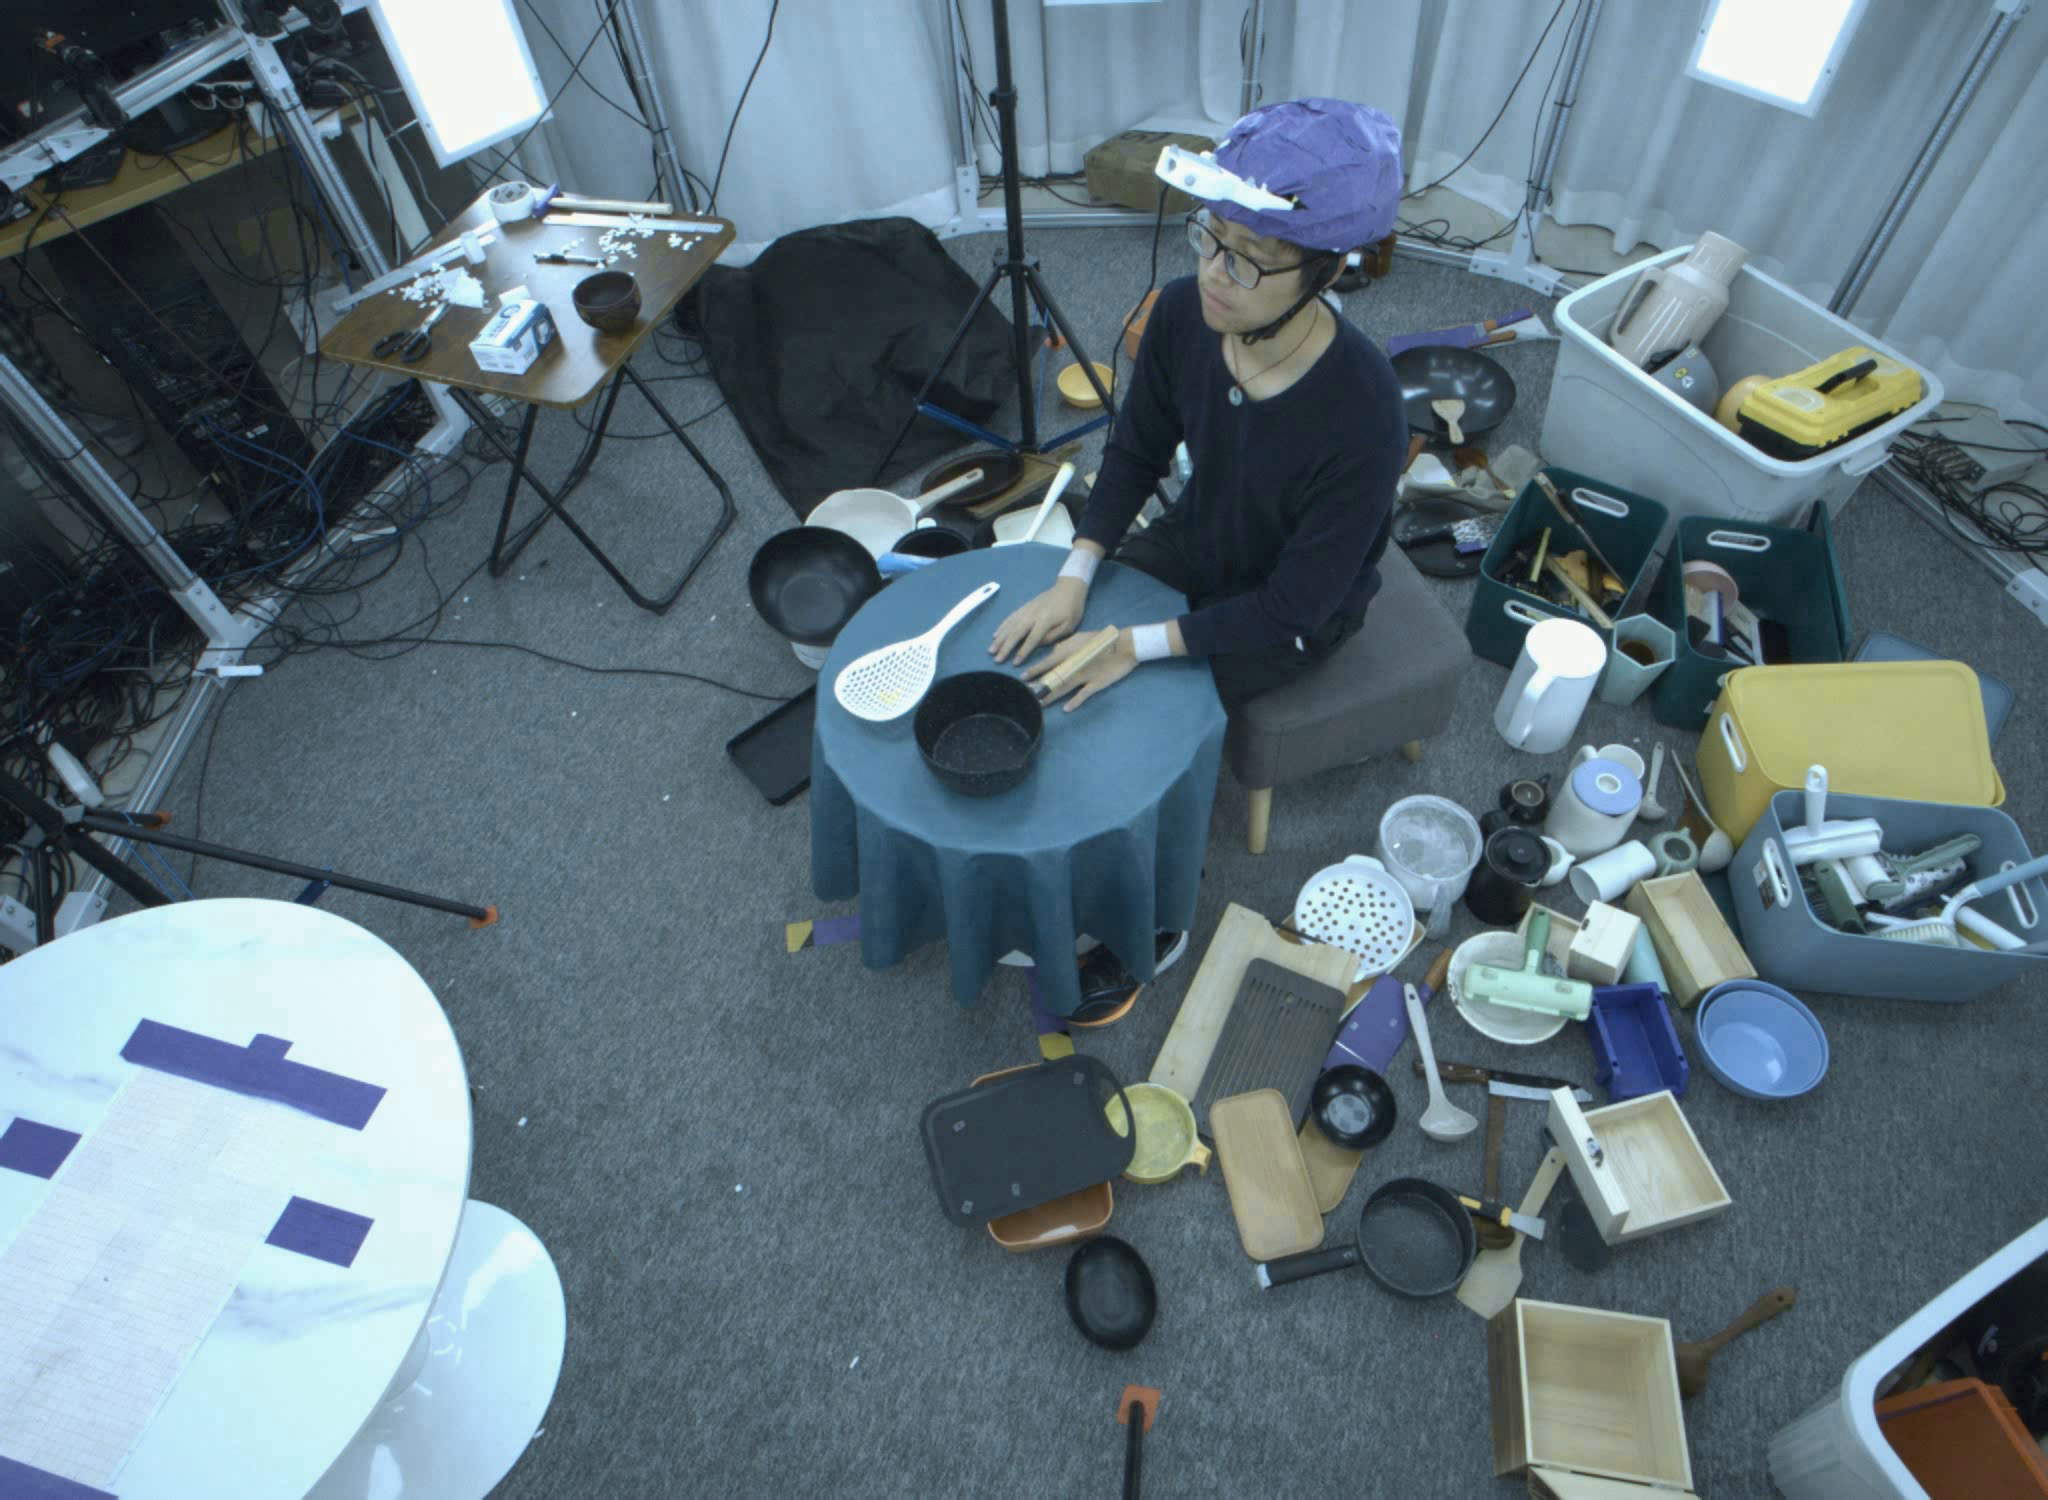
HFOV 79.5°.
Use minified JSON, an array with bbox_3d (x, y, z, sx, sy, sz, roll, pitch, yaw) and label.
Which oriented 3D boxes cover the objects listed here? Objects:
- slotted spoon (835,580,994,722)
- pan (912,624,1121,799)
[{"bbox_3d":[-0.147,-0.161,1.880,0.134,0.051,0.349,27,62,23],"label":"slotted spoon"},{"bbox_3d":[0.000,-0.064,1.766,0.345,0.109,0.203,-34,59,-18],"label":"pan"}]
